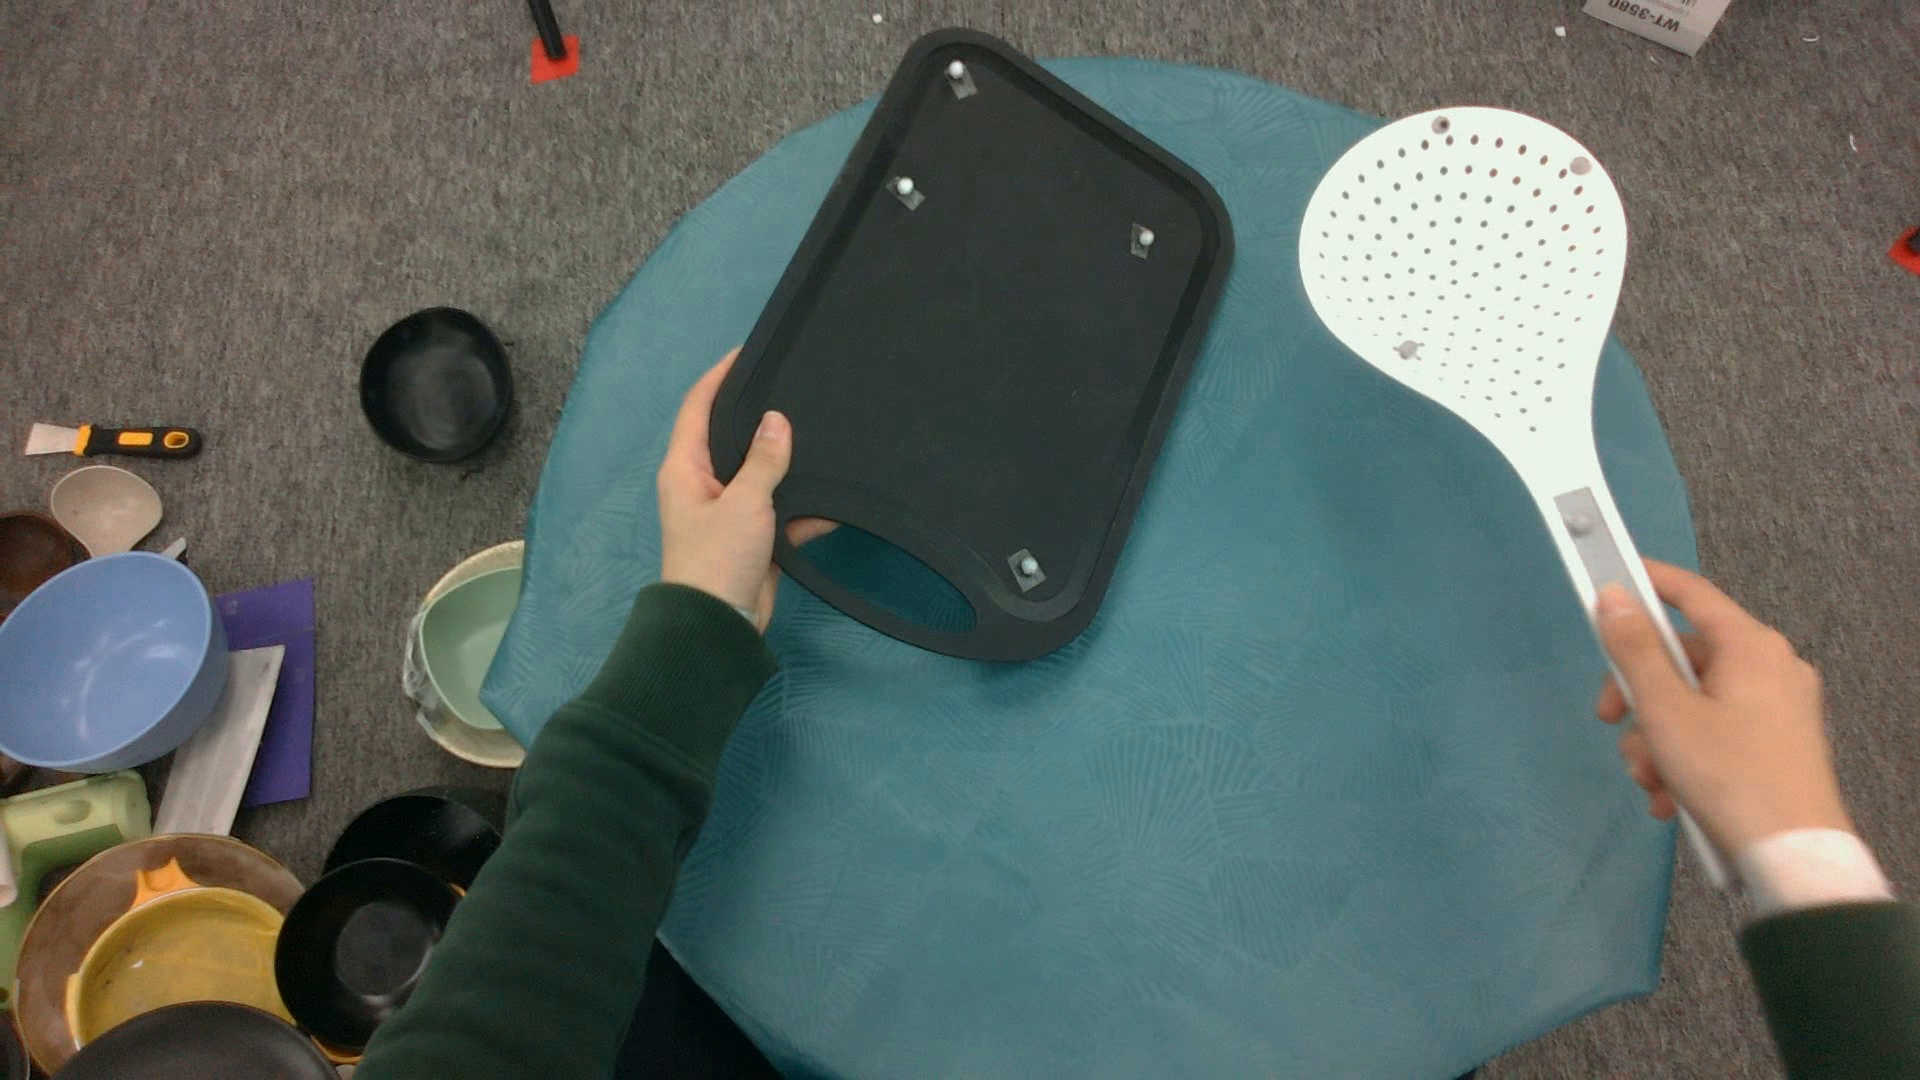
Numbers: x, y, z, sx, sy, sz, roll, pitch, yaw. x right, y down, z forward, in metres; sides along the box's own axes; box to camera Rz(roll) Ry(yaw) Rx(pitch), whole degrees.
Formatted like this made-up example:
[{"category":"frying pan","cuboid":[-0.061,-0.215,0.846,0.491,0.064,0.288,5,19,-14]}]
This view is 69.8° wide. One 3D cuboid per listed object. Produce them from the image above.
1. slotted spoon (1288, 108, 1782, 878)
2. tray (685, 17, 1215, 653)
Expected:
[{"category":"slotted spoon","cuboid":[0.244,-0.034,0.572,0.136,0.045,0.351,-21,62,11]},{"category":"tray","cuboid":[0.006,-0.105,0.681,0.211,0.010,0.326,29,66,-13]}]
